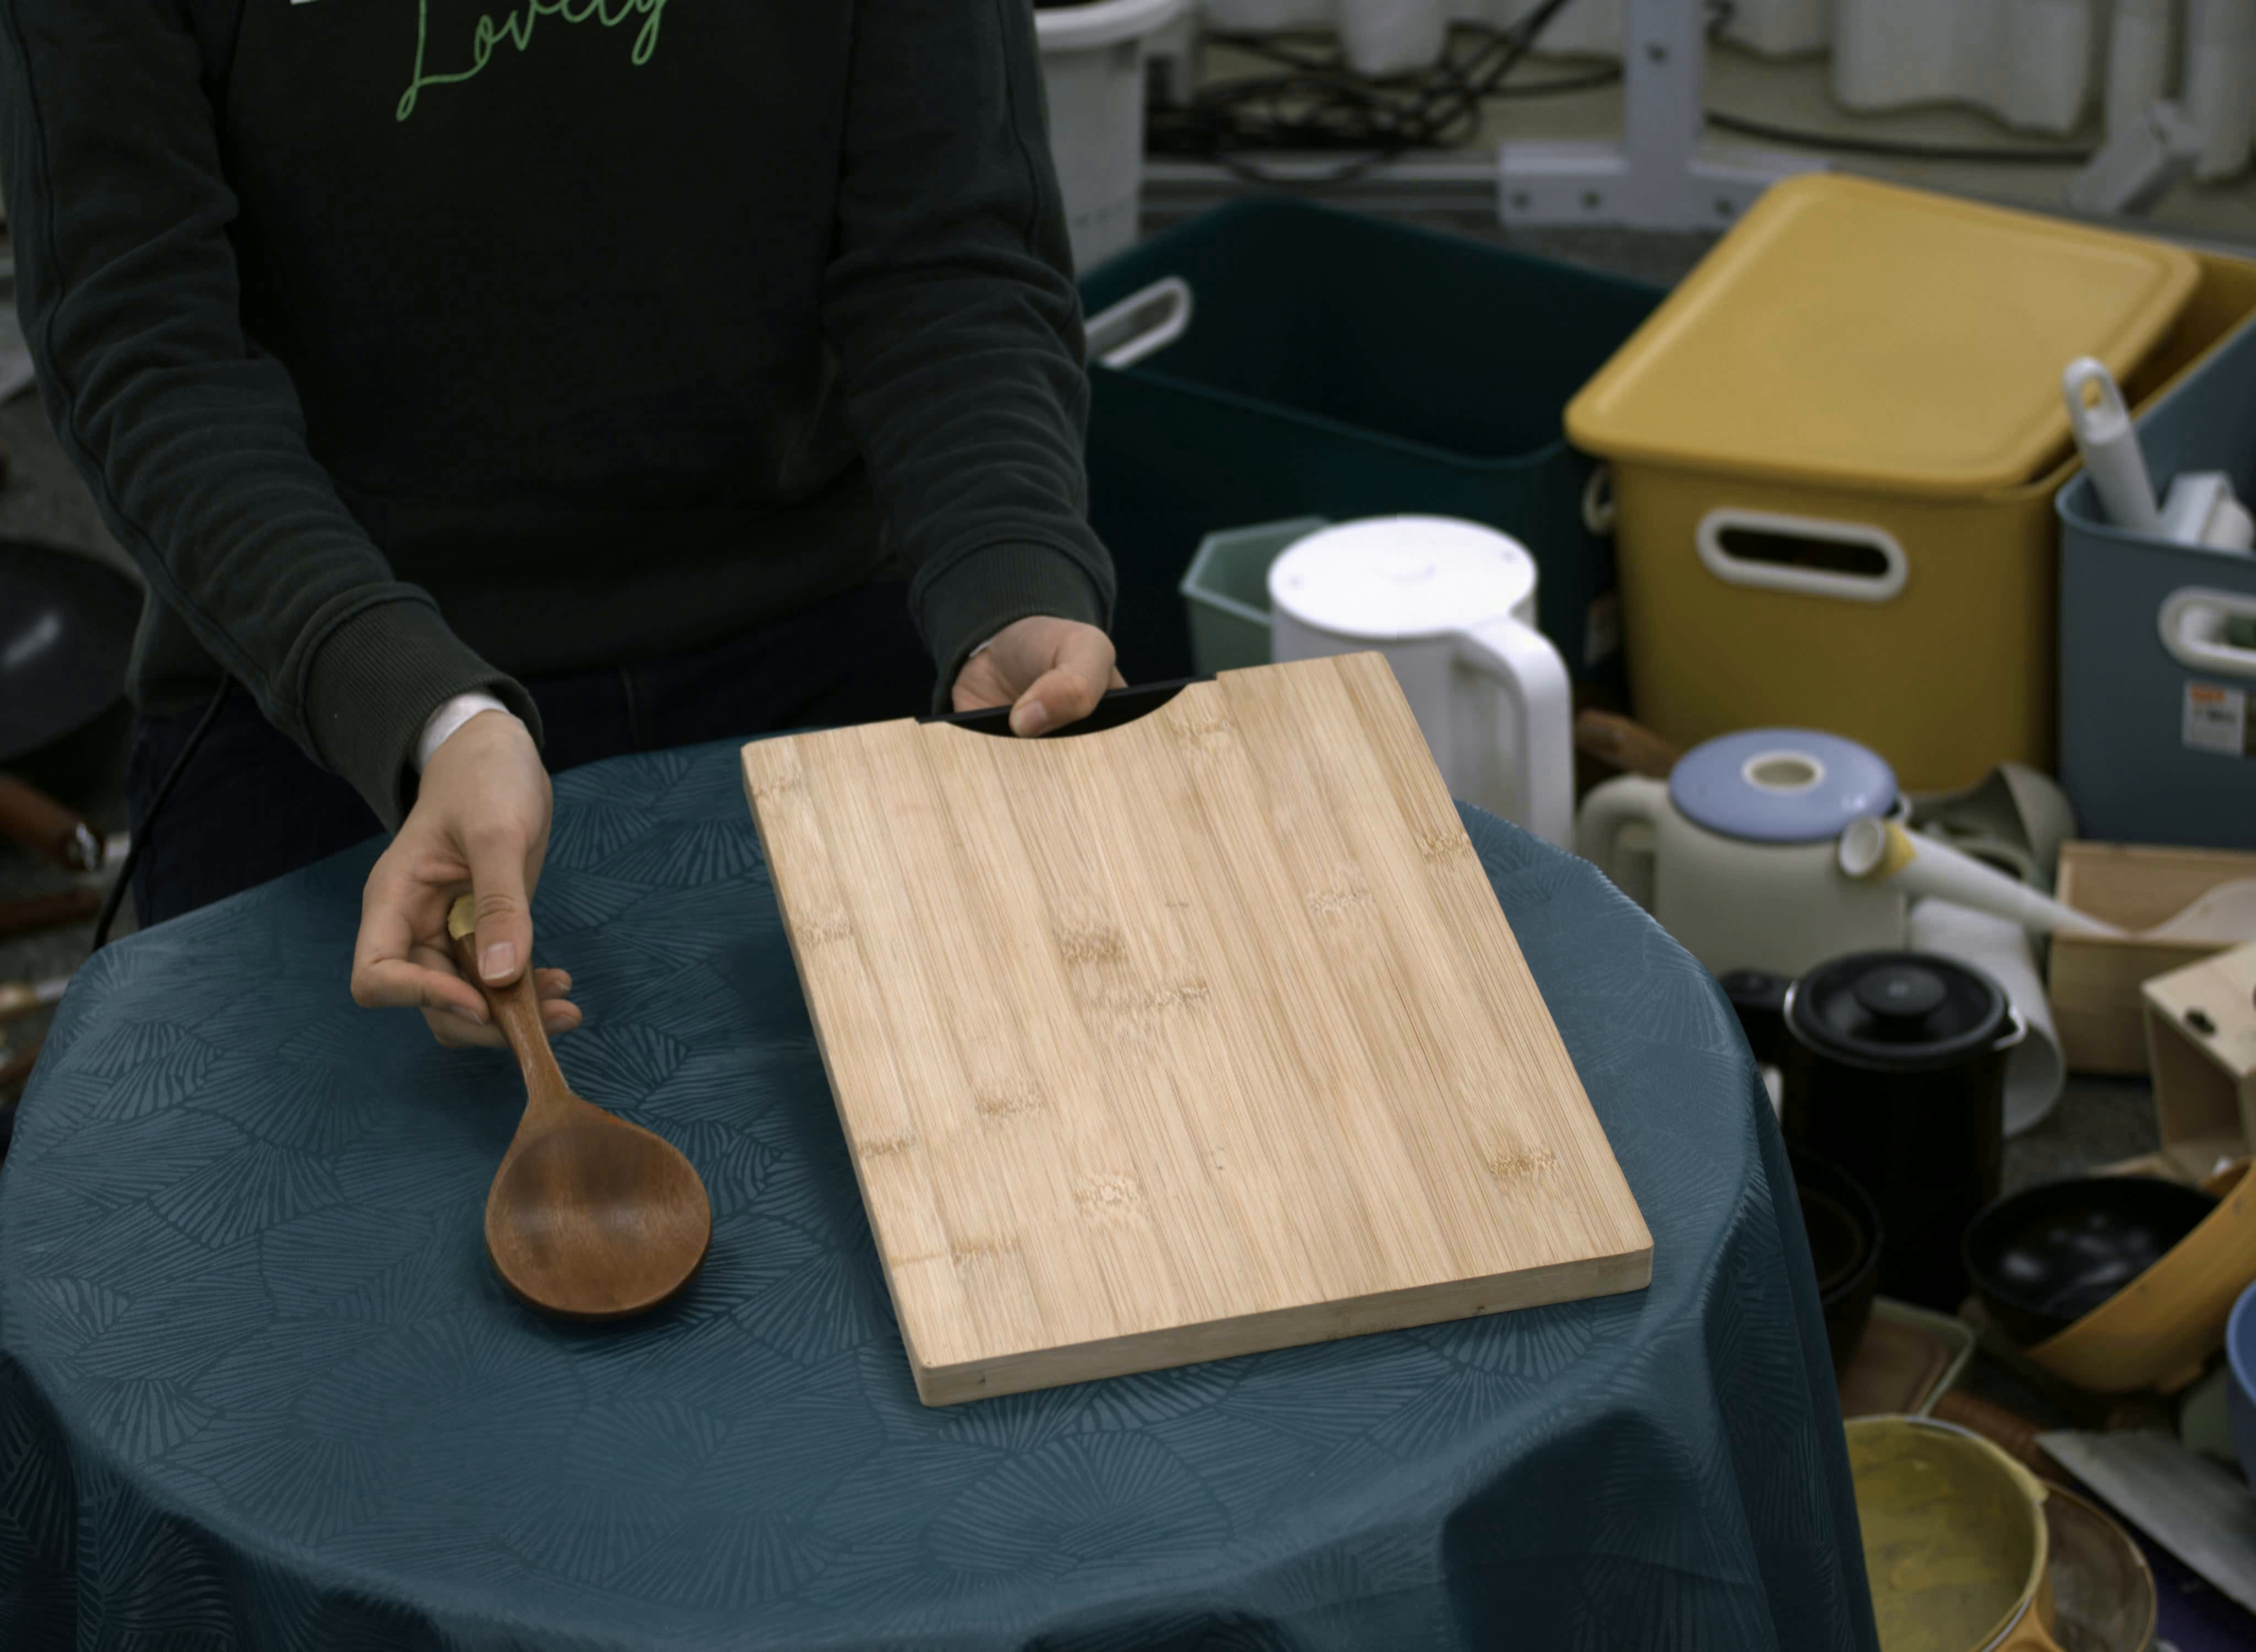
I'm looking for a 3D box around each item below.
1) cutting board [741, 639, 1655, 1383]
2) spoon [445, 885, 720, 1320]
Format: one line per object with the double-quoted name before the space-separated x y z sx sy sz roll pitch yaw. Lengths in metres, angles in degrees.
"cutting board" 0.014 0.056 1.908 0.250 0.023 0.354 -8 37 -11
"spoon" -0.191 0.091 1.871 0.075 0.017 0.219 -17 43 -11
